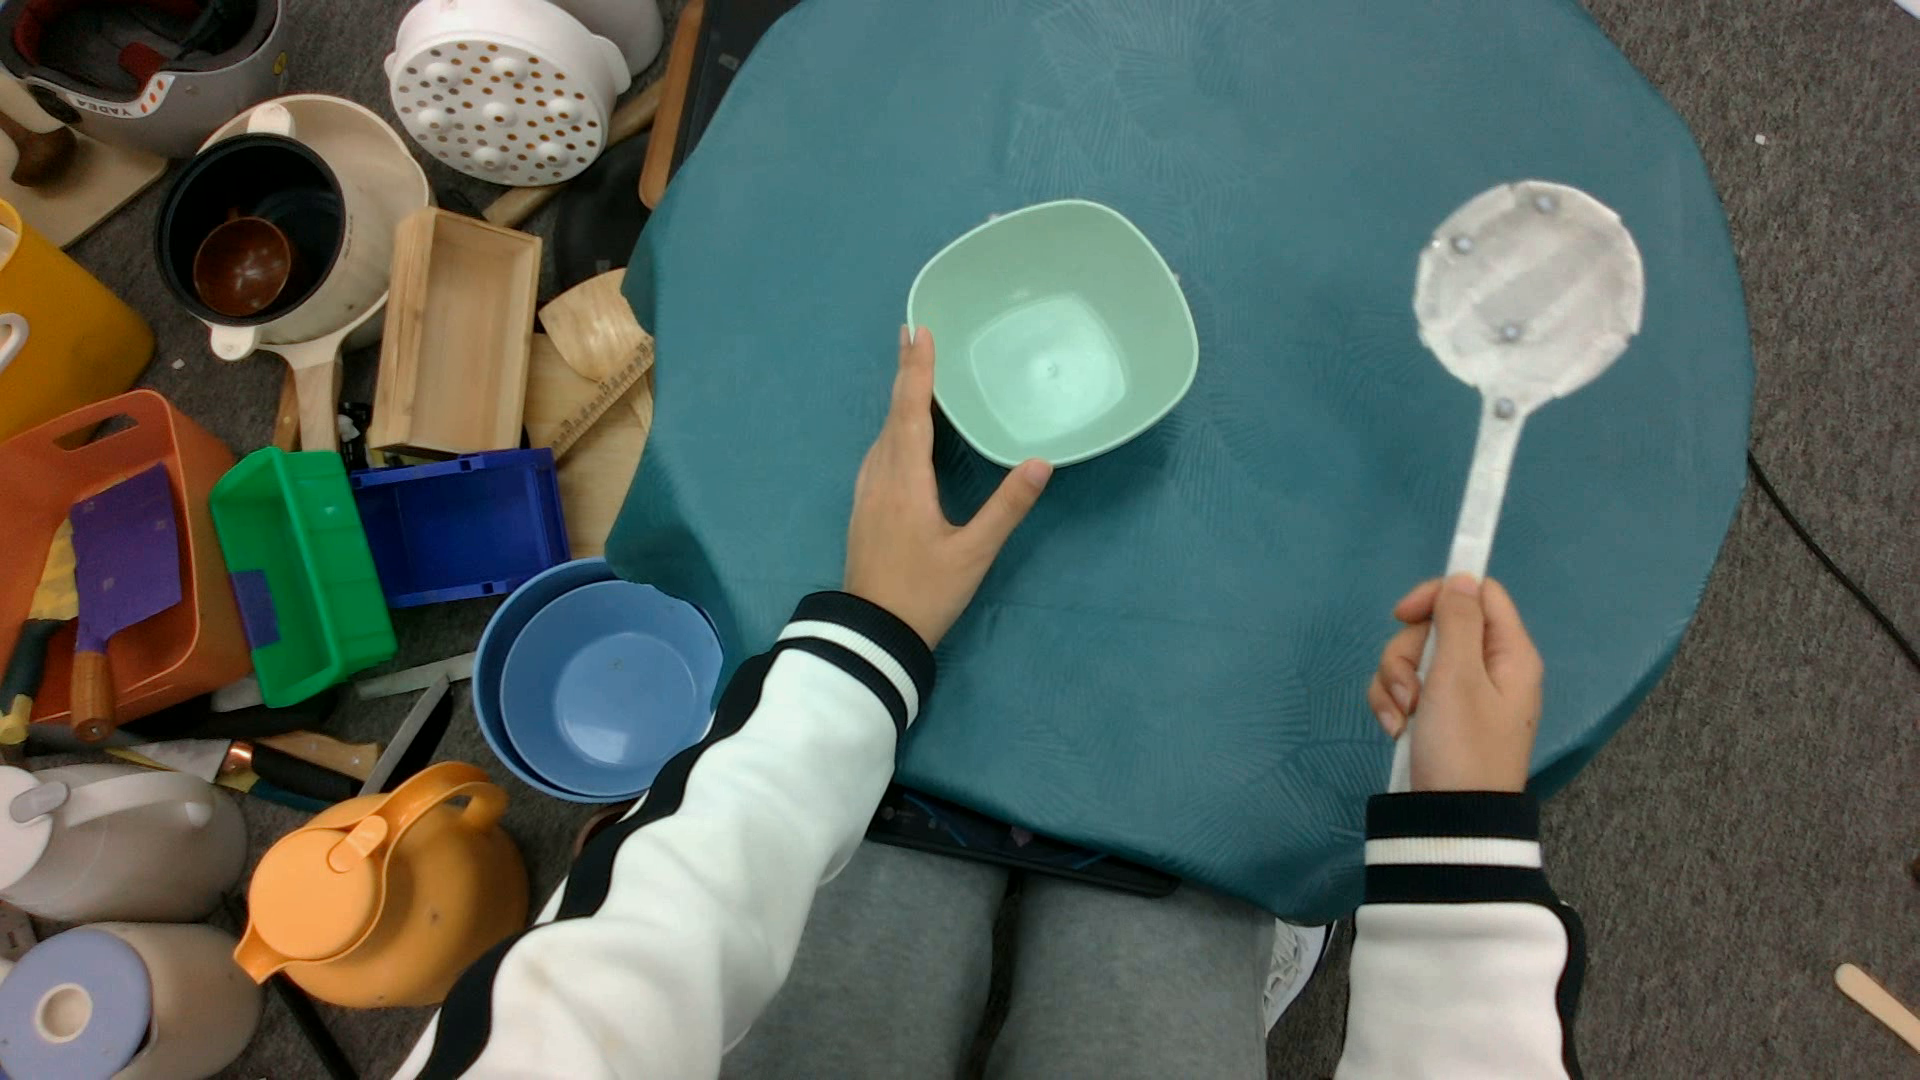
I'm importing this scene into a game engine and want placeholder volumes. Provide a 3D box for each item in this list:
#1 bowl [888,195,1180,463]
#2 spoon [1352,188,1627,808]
[{"bbox_3d":[0.037,-0.102,0.722,0.151,0.058,0.152,0,73,0],"label":"bowl"},{"bbox_3d":[0.210,-0.021,0.601,0.100,0.059,0.278,14,75,33],"label":"spoon"}]
